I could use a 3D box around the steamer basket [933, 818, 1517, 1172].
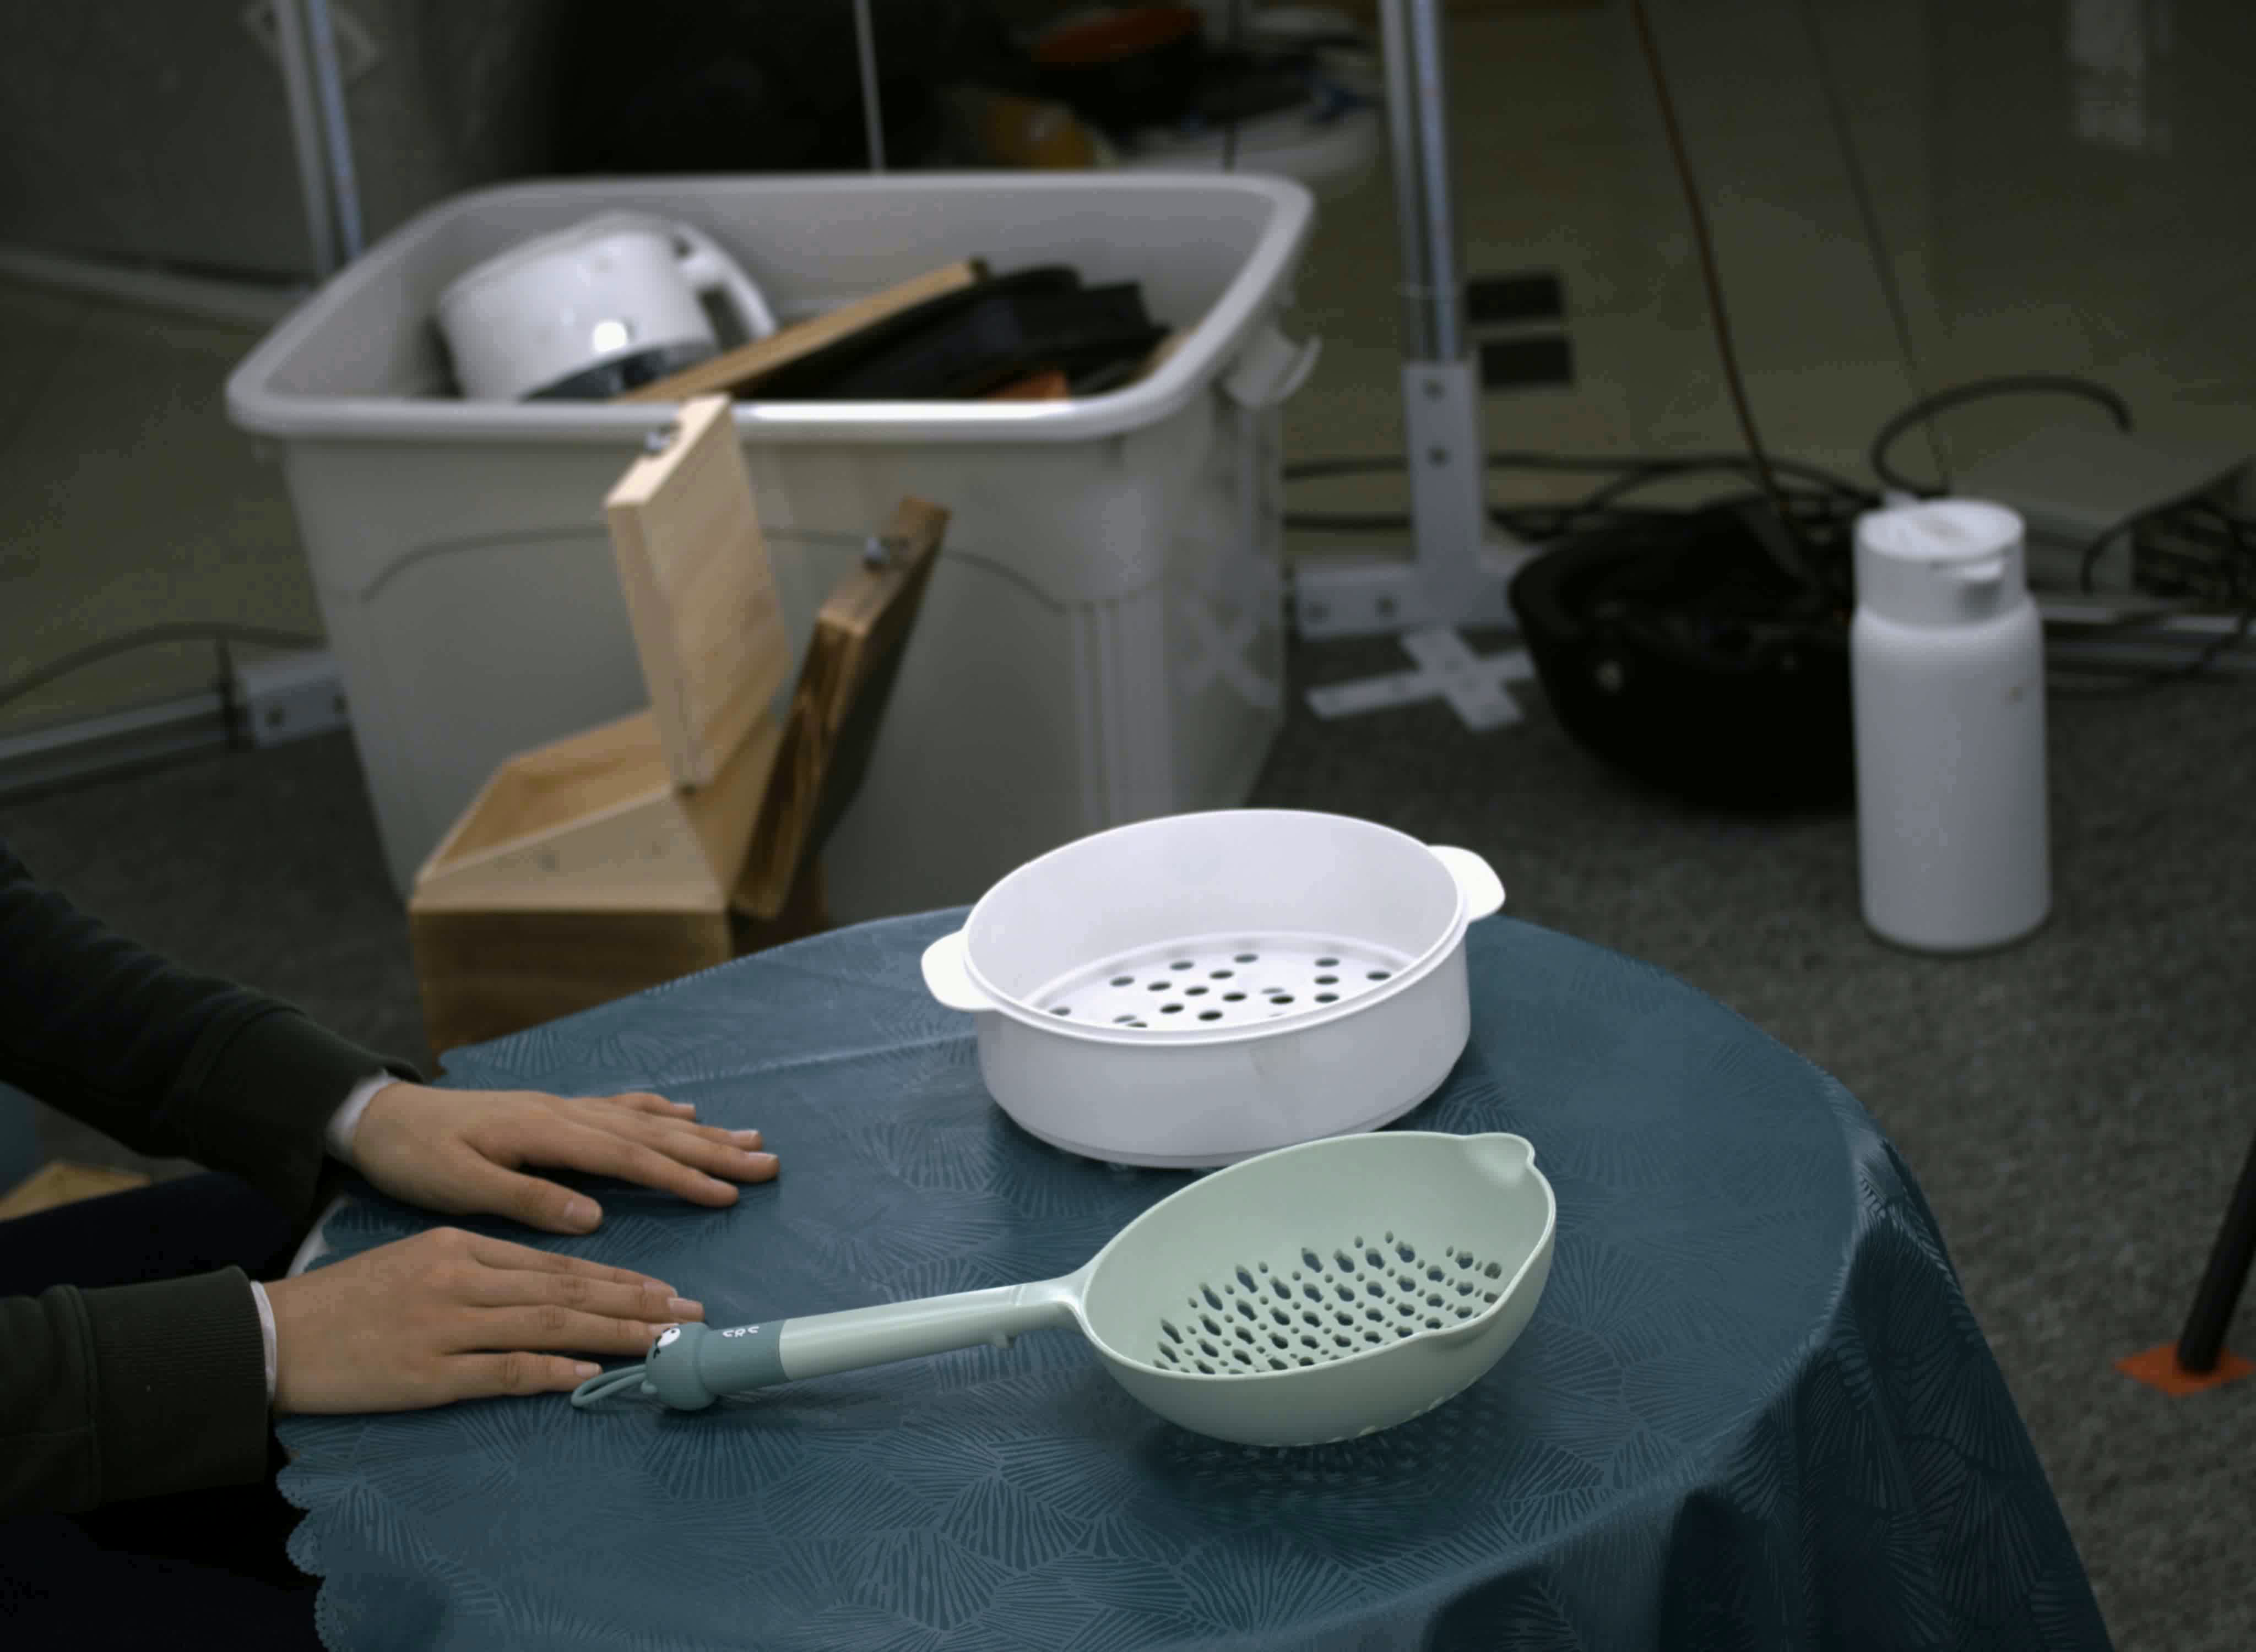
[{"bbox_3d":[0.041,0.067,2.222,0.230,0.070,0.199,-11,24,-9],"label":"steamer basket"}]

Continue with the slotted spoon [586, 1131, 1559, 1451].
[{"bbox_3d":[-0.024,0.174,2.006,0.358,0.076,0.167,-1,25,11],"label":"slotted spoon"}]
